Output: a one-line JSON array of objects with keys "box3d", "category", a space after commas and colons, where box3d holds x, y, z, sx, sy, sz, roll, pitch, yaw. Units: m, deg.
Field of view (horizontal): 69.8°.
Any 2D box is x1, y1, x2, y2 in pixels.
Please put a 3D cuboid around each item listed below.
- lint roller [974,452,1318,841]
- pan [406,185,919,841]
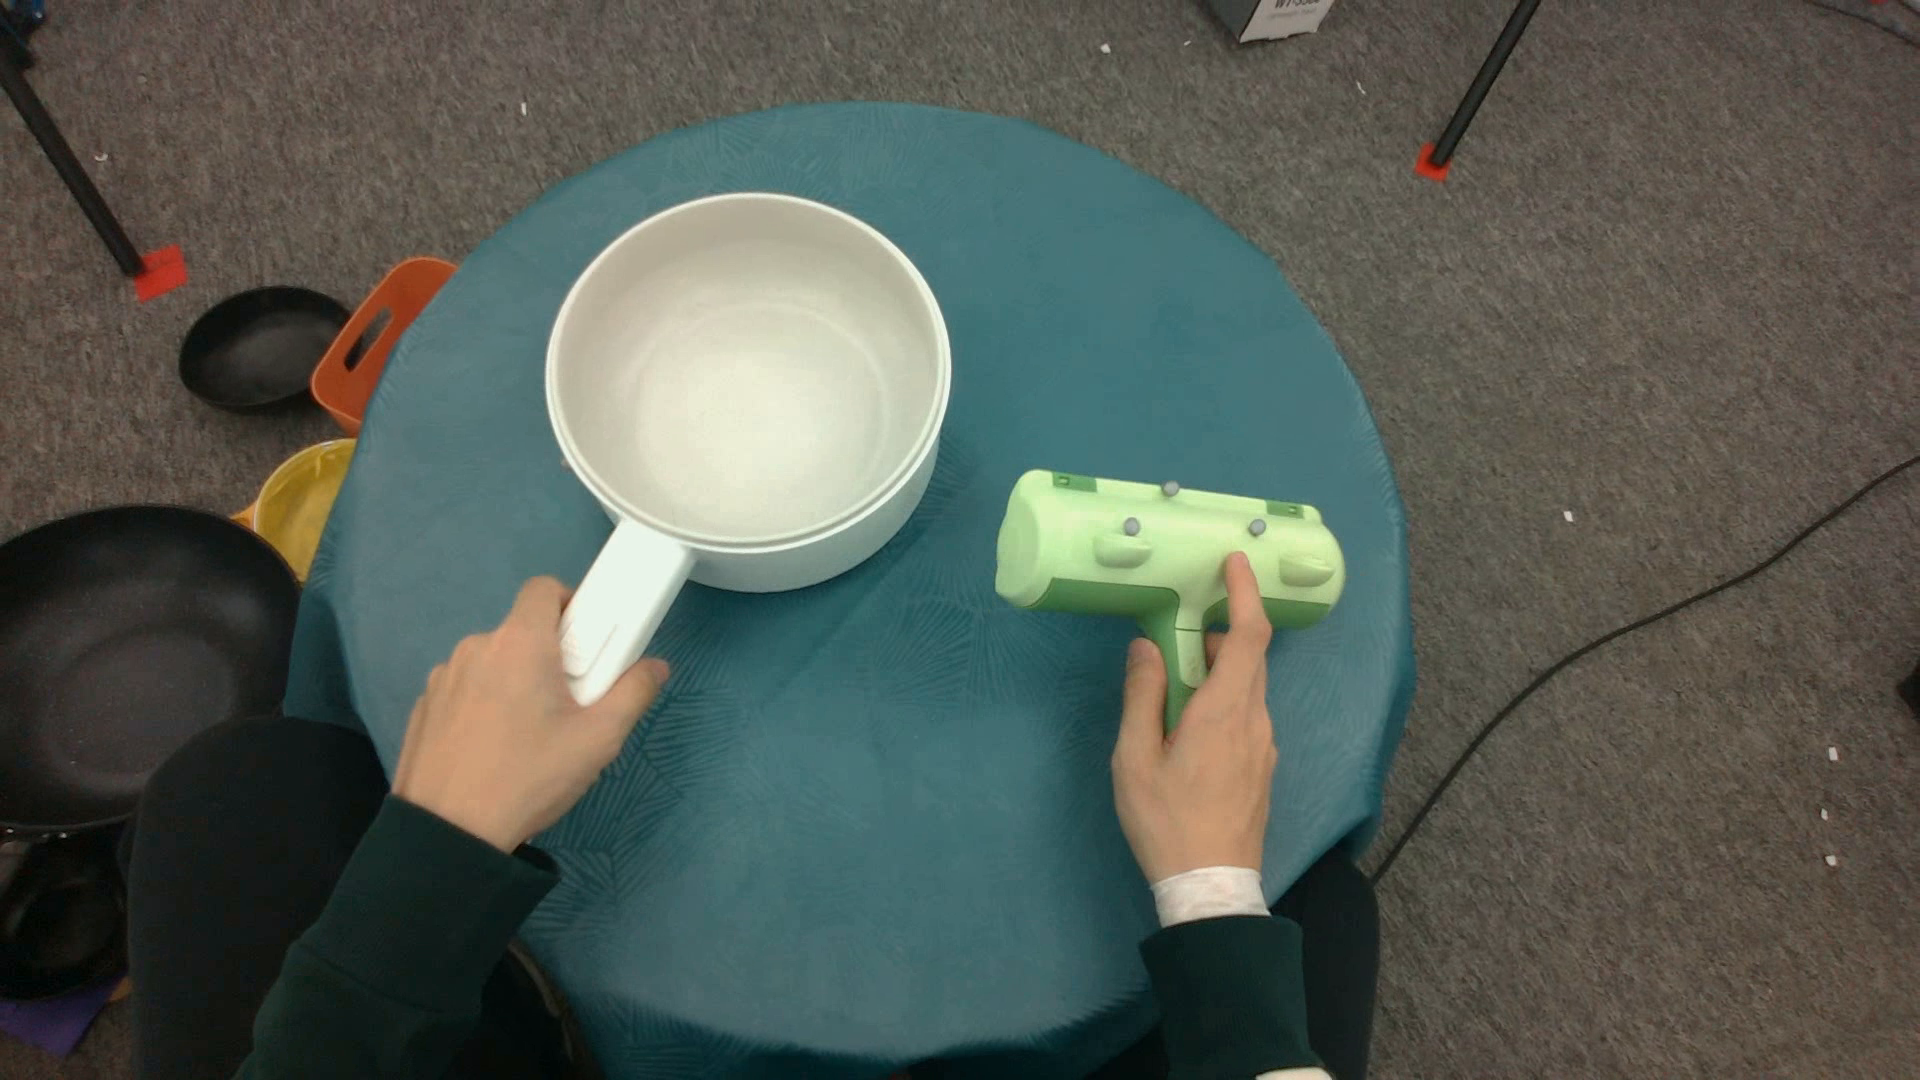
[{"box3d": [0.108, 0.051, 0.681, 0.199, 0.082, 0.184, 5, 68, -31], "category": "lint roller"}, {"box3d": [-0.155, -0.012, 0.704, 0.201, 0.102, 0.356, 24, 70, 5], "category": "pan"}]
